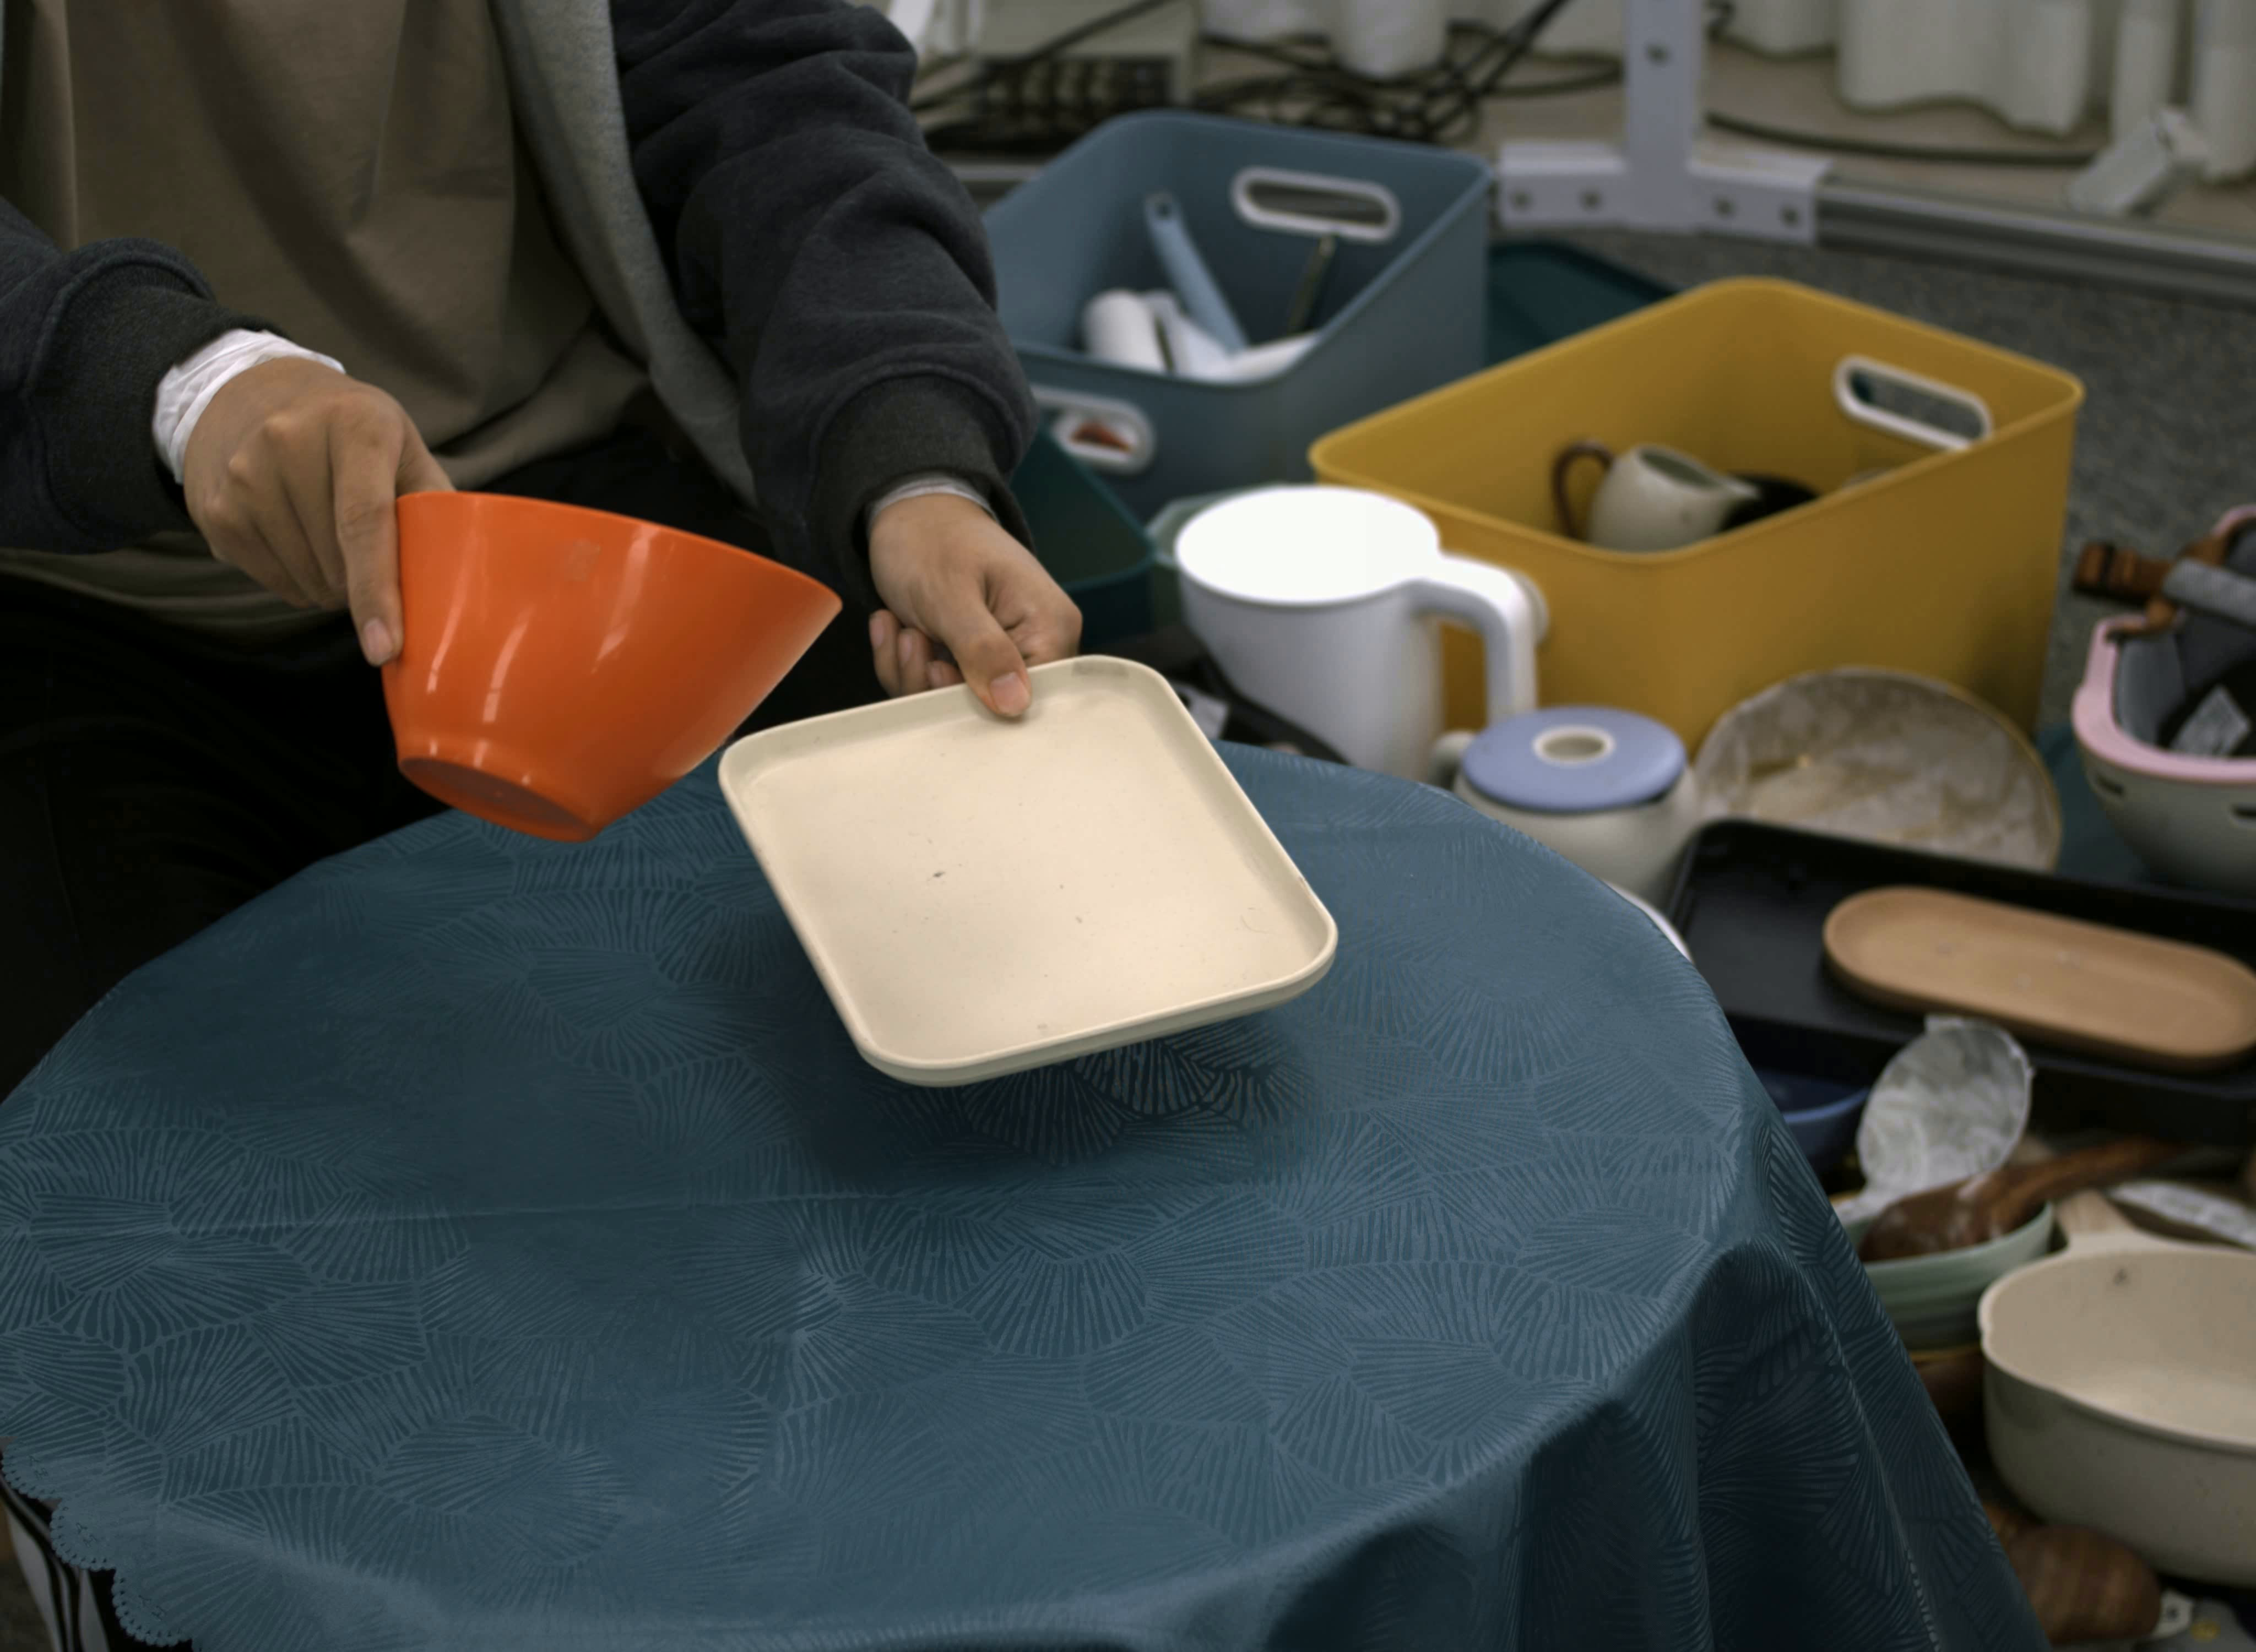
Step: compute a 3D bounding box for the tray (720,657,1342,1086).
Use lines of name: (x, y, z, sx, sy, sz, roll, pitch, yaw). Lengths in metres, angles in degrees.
tray: (-0.036, 0.014, 1.954, 0.171, 0.017, 0.242, -13, 32, -14)

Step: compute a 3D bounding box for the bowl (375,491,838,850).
bowl: (-0.179, -0.048, 1.813, 0.147, 0.147, 0.106, 13, 74, 28)
